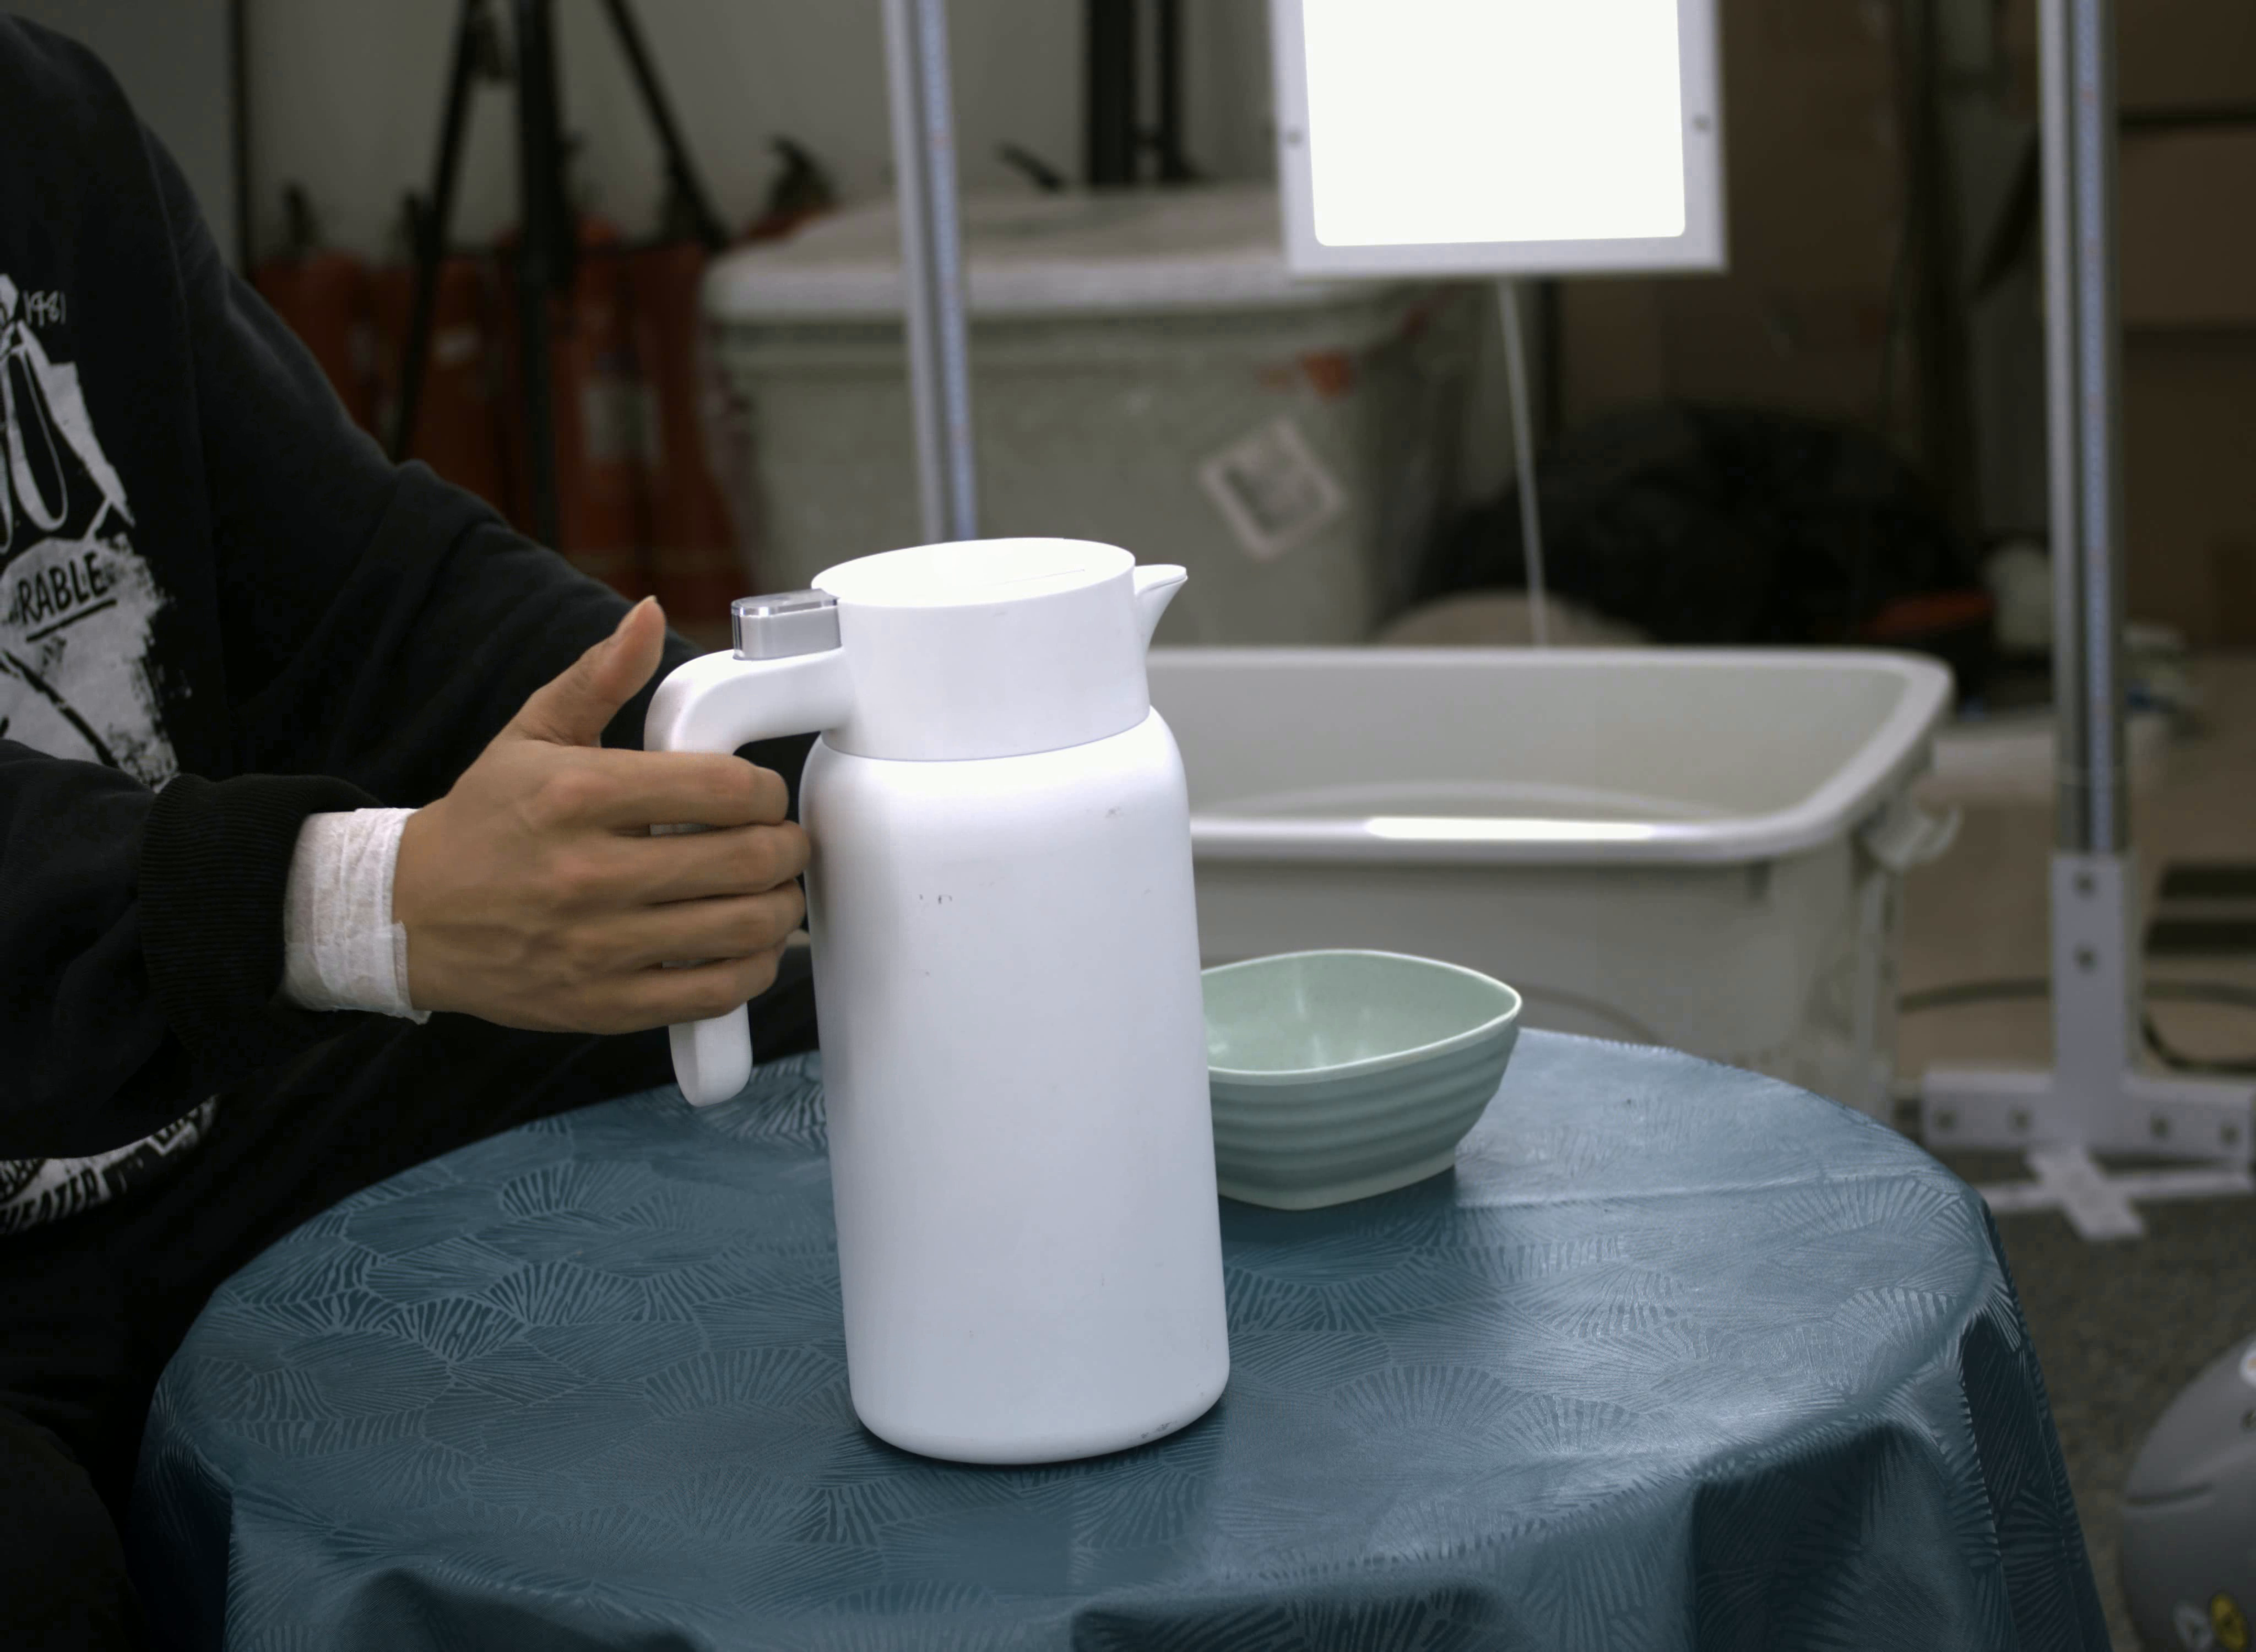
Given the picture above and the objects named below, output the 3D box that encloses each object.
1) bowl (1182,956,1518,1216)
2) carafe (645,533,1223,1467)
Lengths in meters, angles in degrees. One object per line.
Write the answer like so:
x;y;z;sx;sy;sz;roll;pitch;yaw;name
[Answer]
0.061;0.092;1.901;0.151;0.059;0.151;-4;14;0;bowl
-0.052;0.054;1.654;0.169;0.270;0.125;-10;16;-21;carafe
